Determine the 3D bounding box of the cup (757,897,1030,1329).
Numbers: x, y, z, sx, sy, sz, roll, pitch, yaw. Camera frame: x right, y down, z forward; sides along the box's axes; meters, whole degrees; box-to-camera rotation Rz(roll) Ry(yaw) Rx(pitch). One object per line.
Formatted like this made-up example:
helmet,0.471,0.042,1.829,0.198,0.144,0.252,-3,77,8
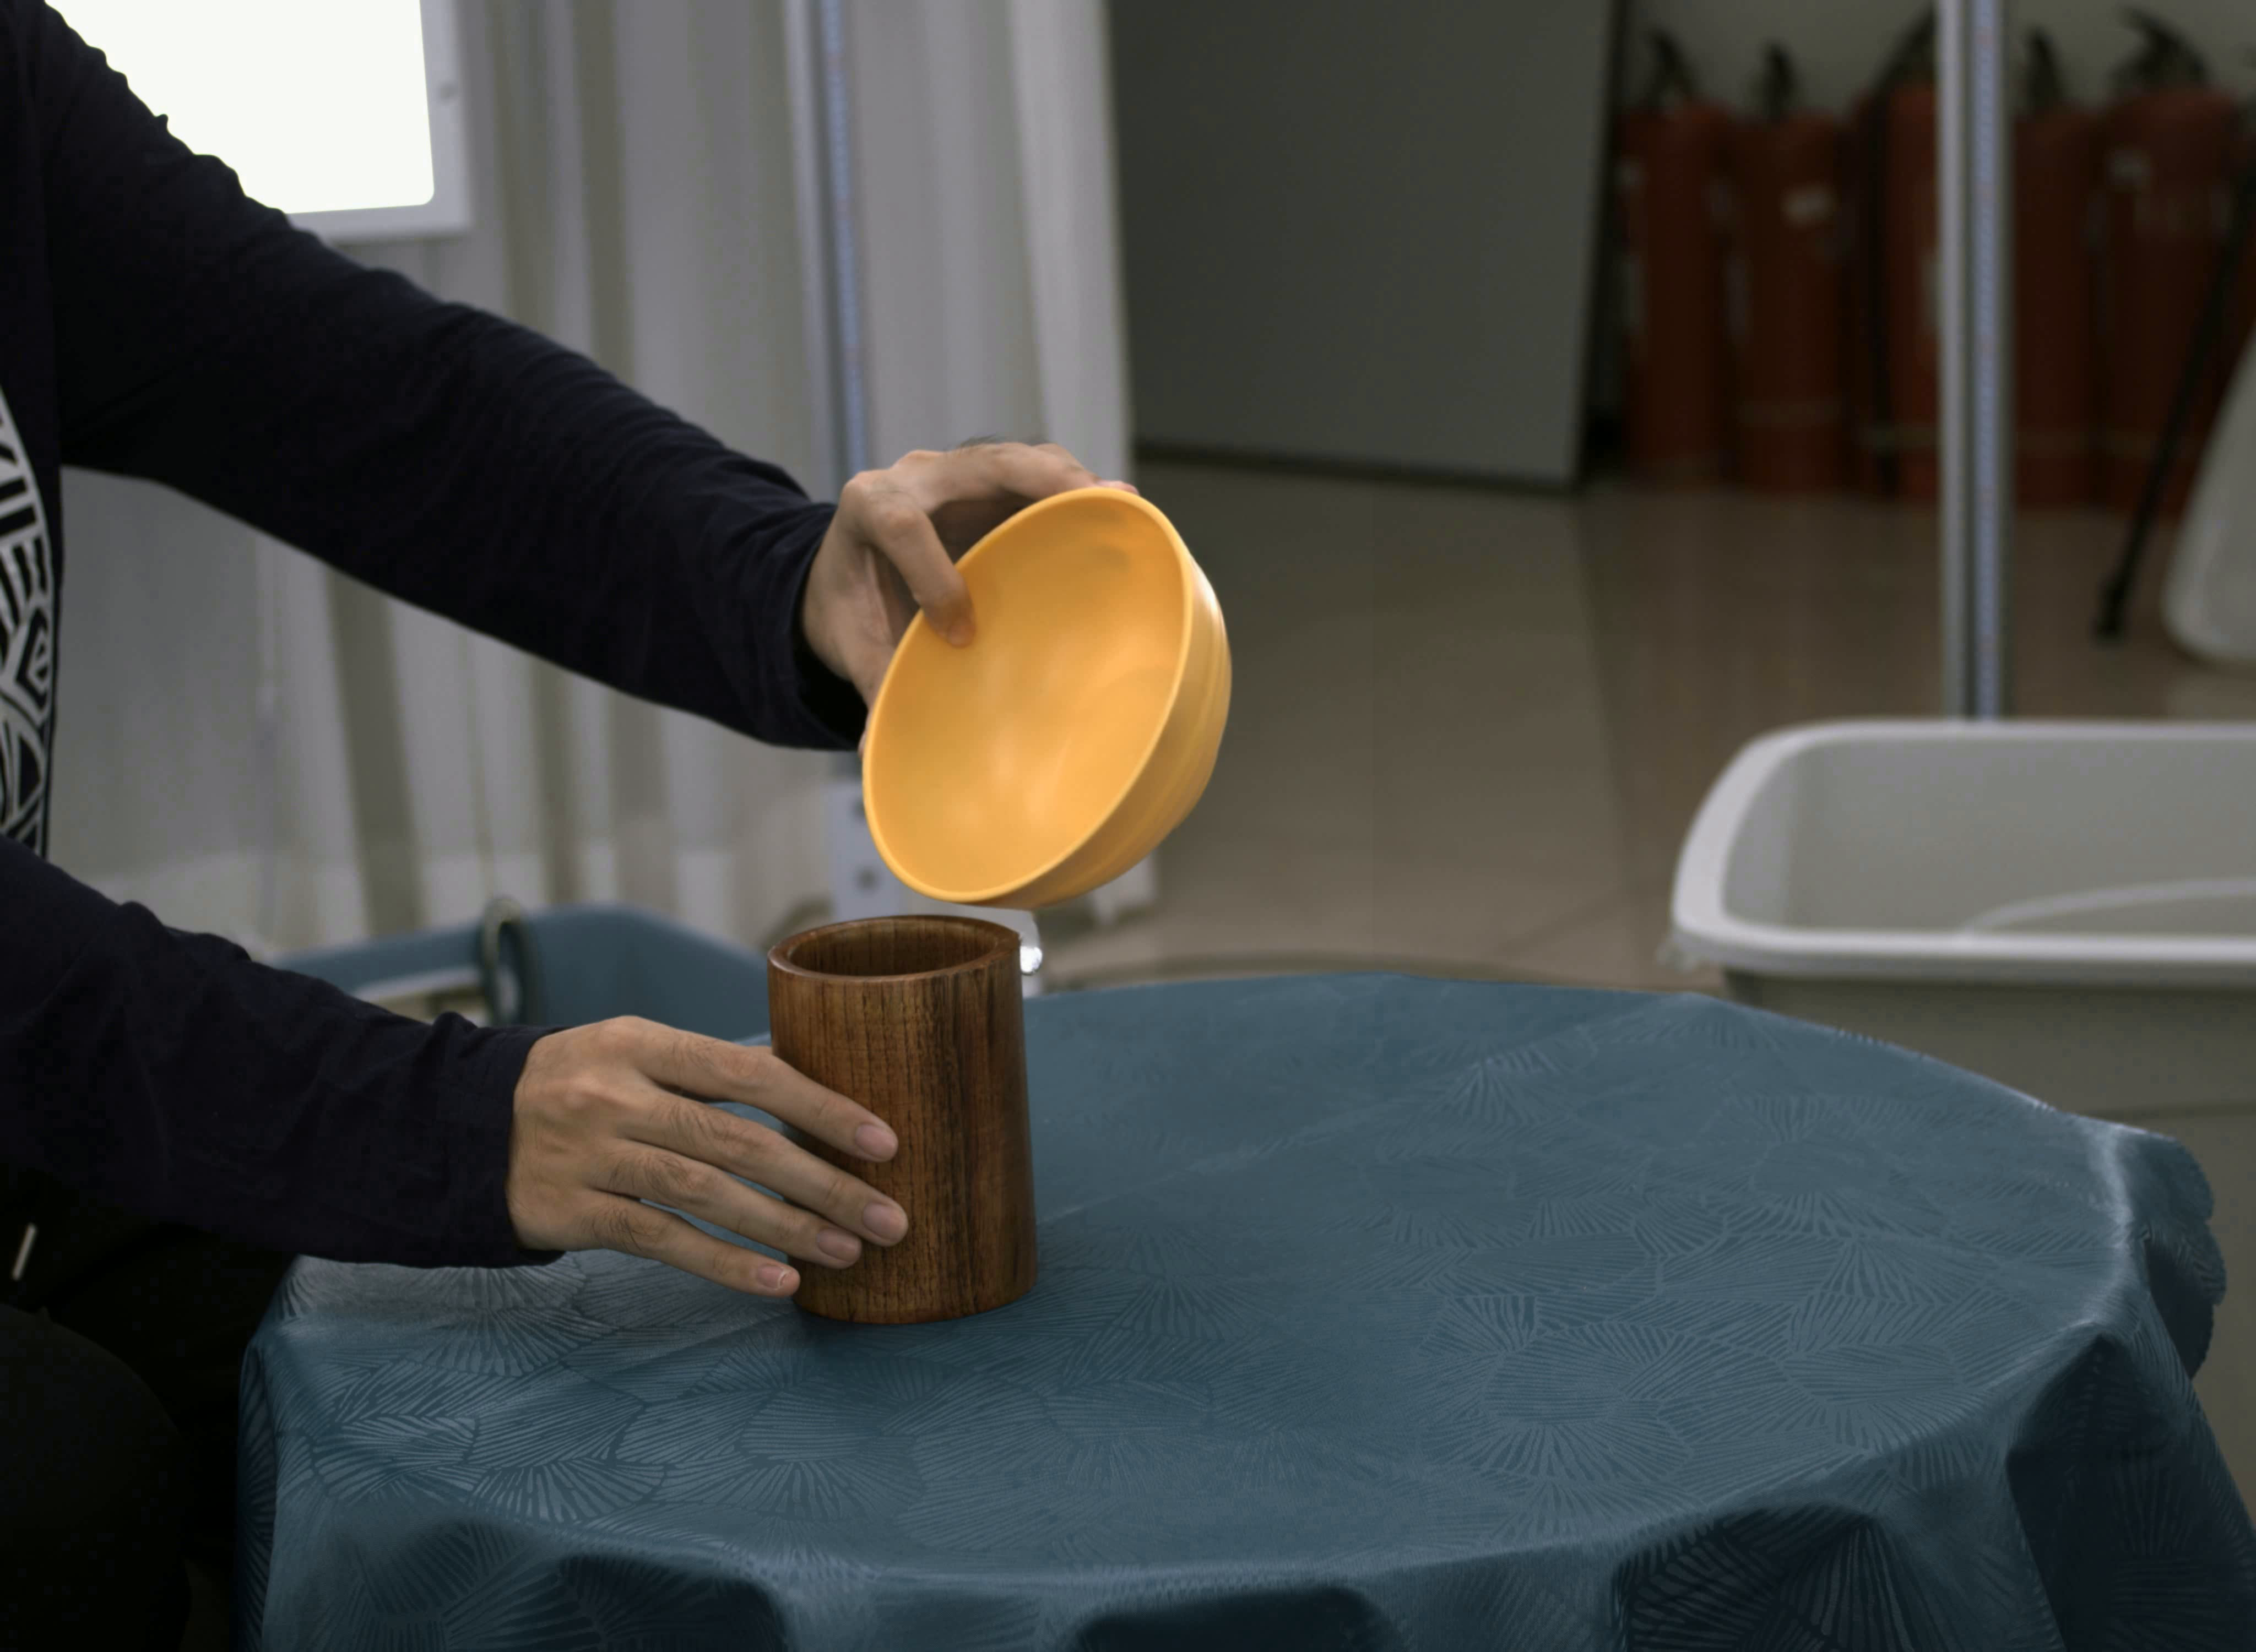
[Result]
cup,-0.072,0.088,1.681,0.086,0.120,0.088,-2,11,0

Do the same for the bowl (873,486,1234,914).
bowl,-0.012,-0.030,1.719,0.059,0.146,0.147,29,-8,-36
